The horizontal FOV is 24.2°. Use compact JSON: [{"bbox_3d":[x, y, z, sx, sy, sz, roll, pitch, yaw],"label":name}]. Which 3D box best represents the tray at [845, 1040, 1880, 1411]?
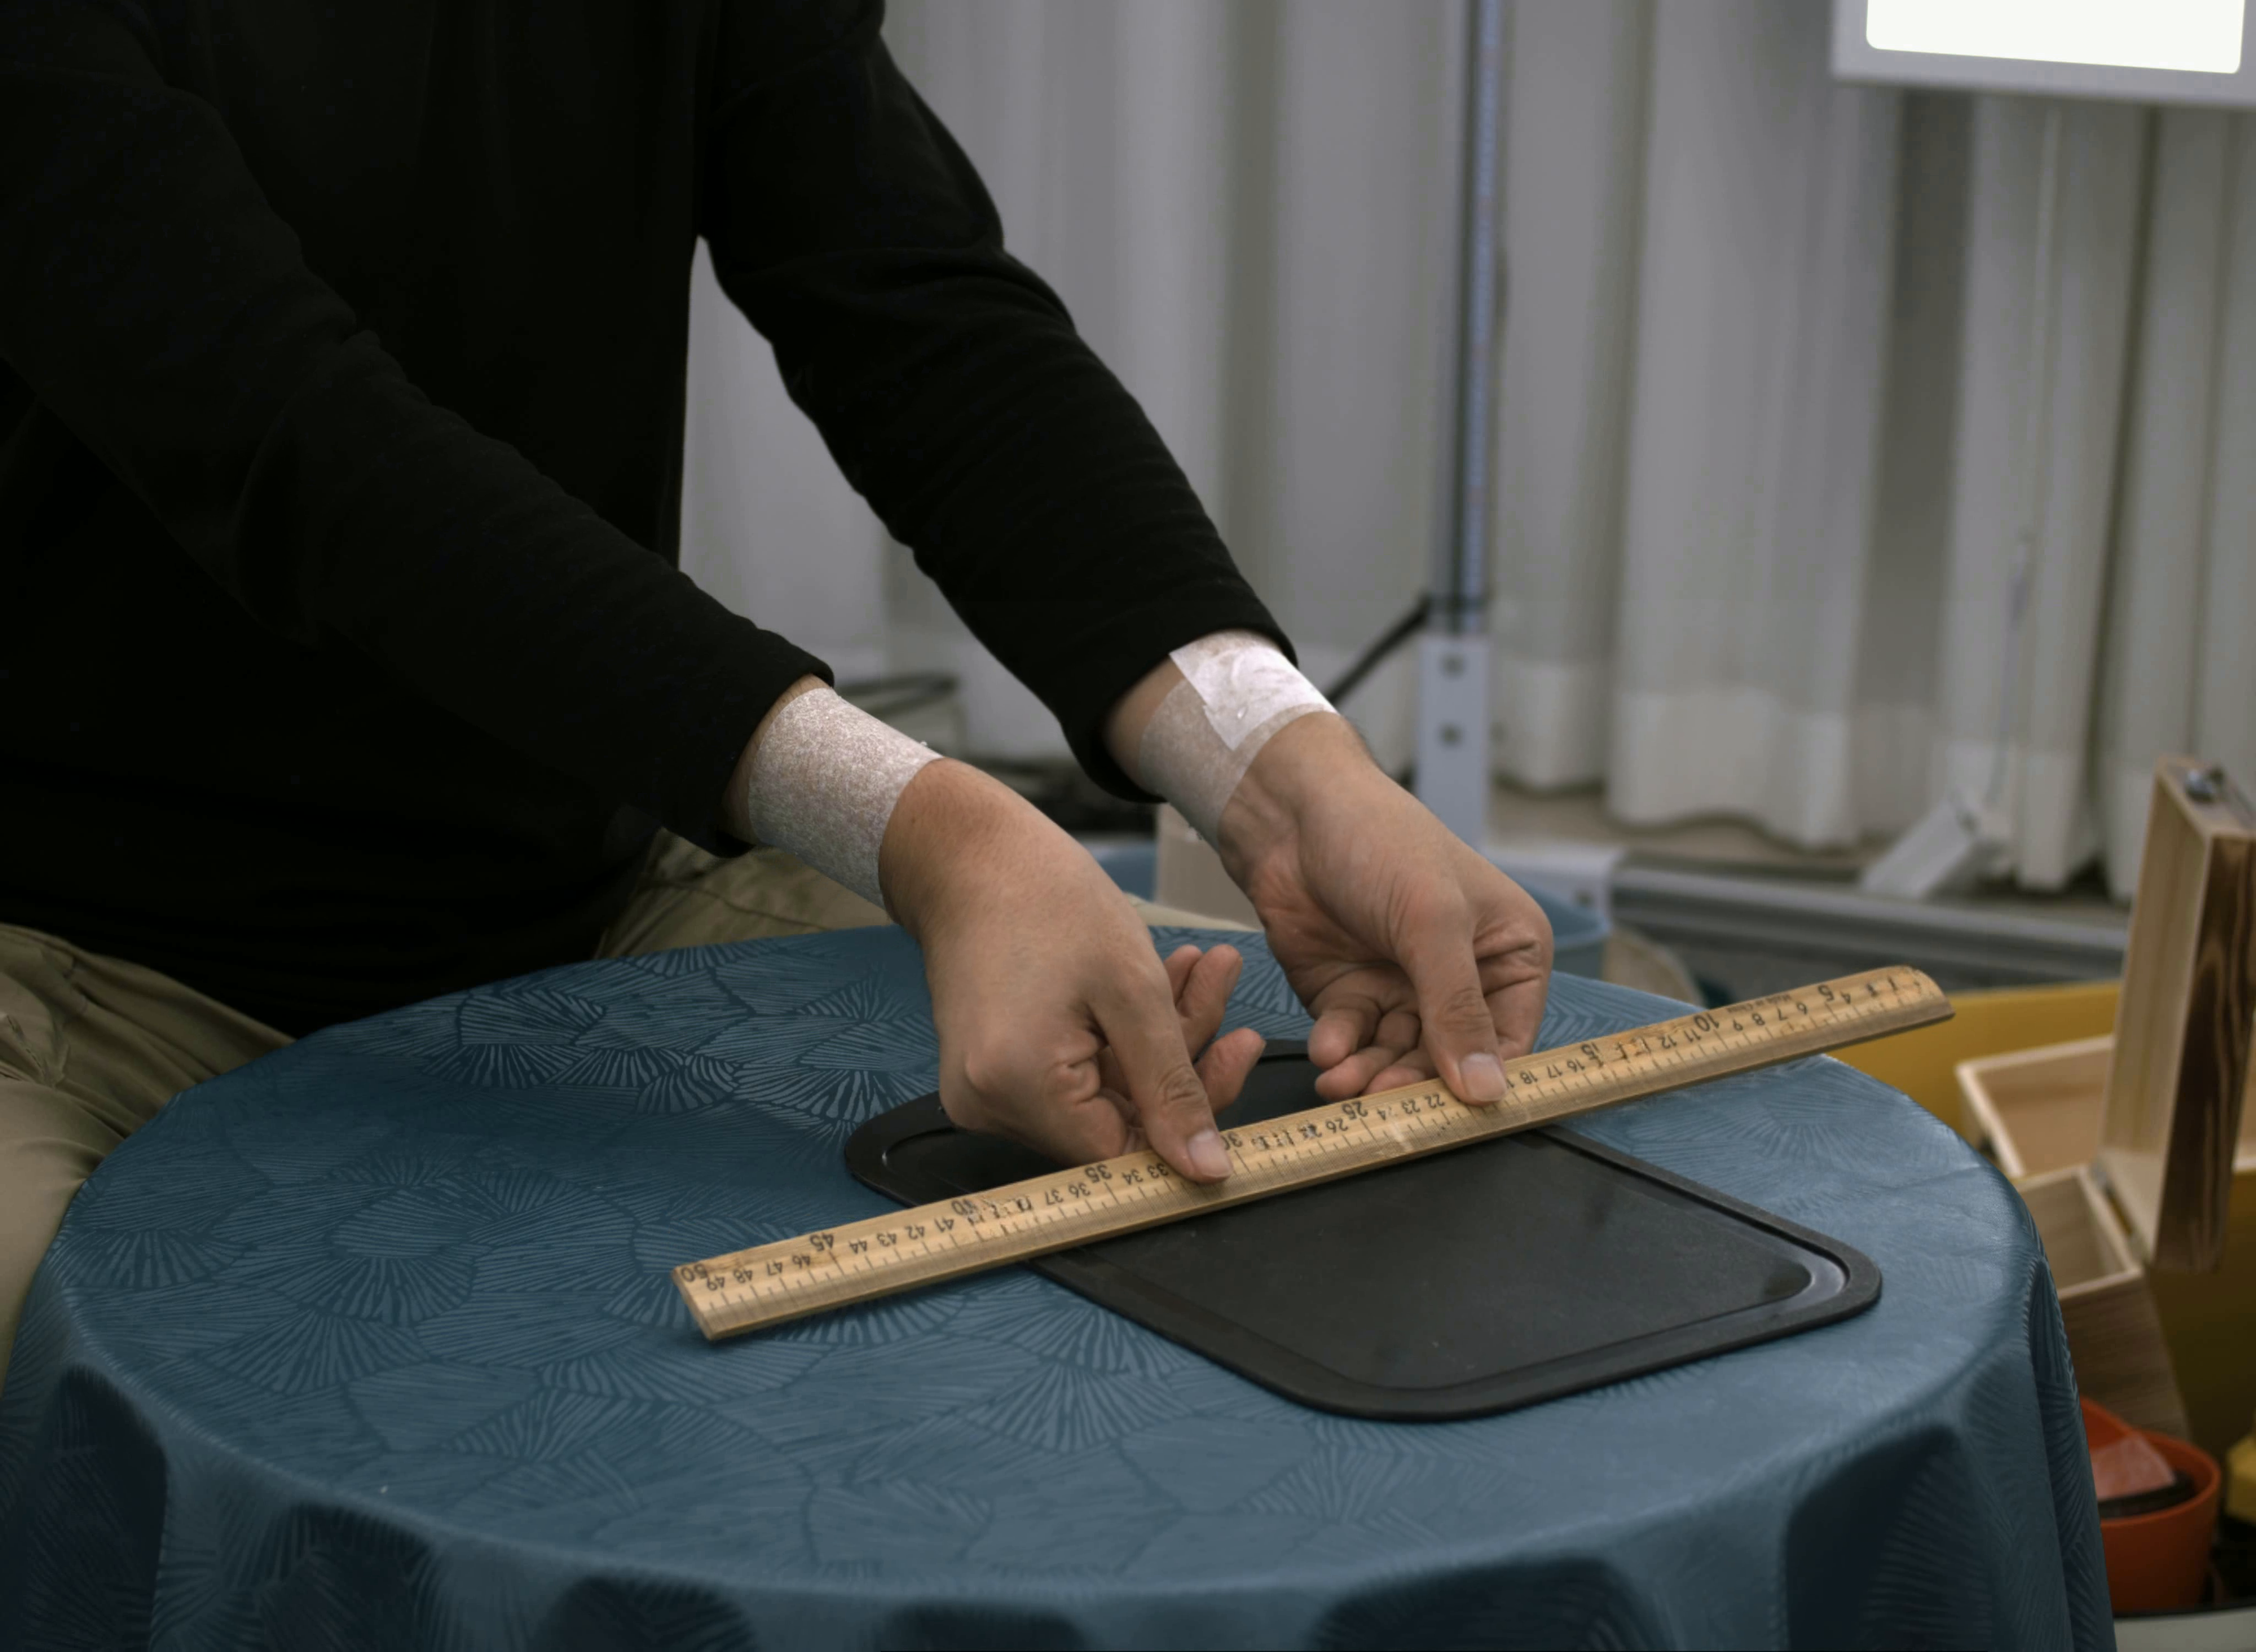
[{"bbox_3d":[0.060,0.114,1.604,0.212,0.010,0.321,-10,19,-34],"label":"tray"}]

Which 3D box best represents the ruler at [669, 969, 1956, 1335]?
[{"bbox_3d":[0.074,0.095,1.639,0.503,0.006,0.026,-11,53,-36],"label":"ruler"}]
